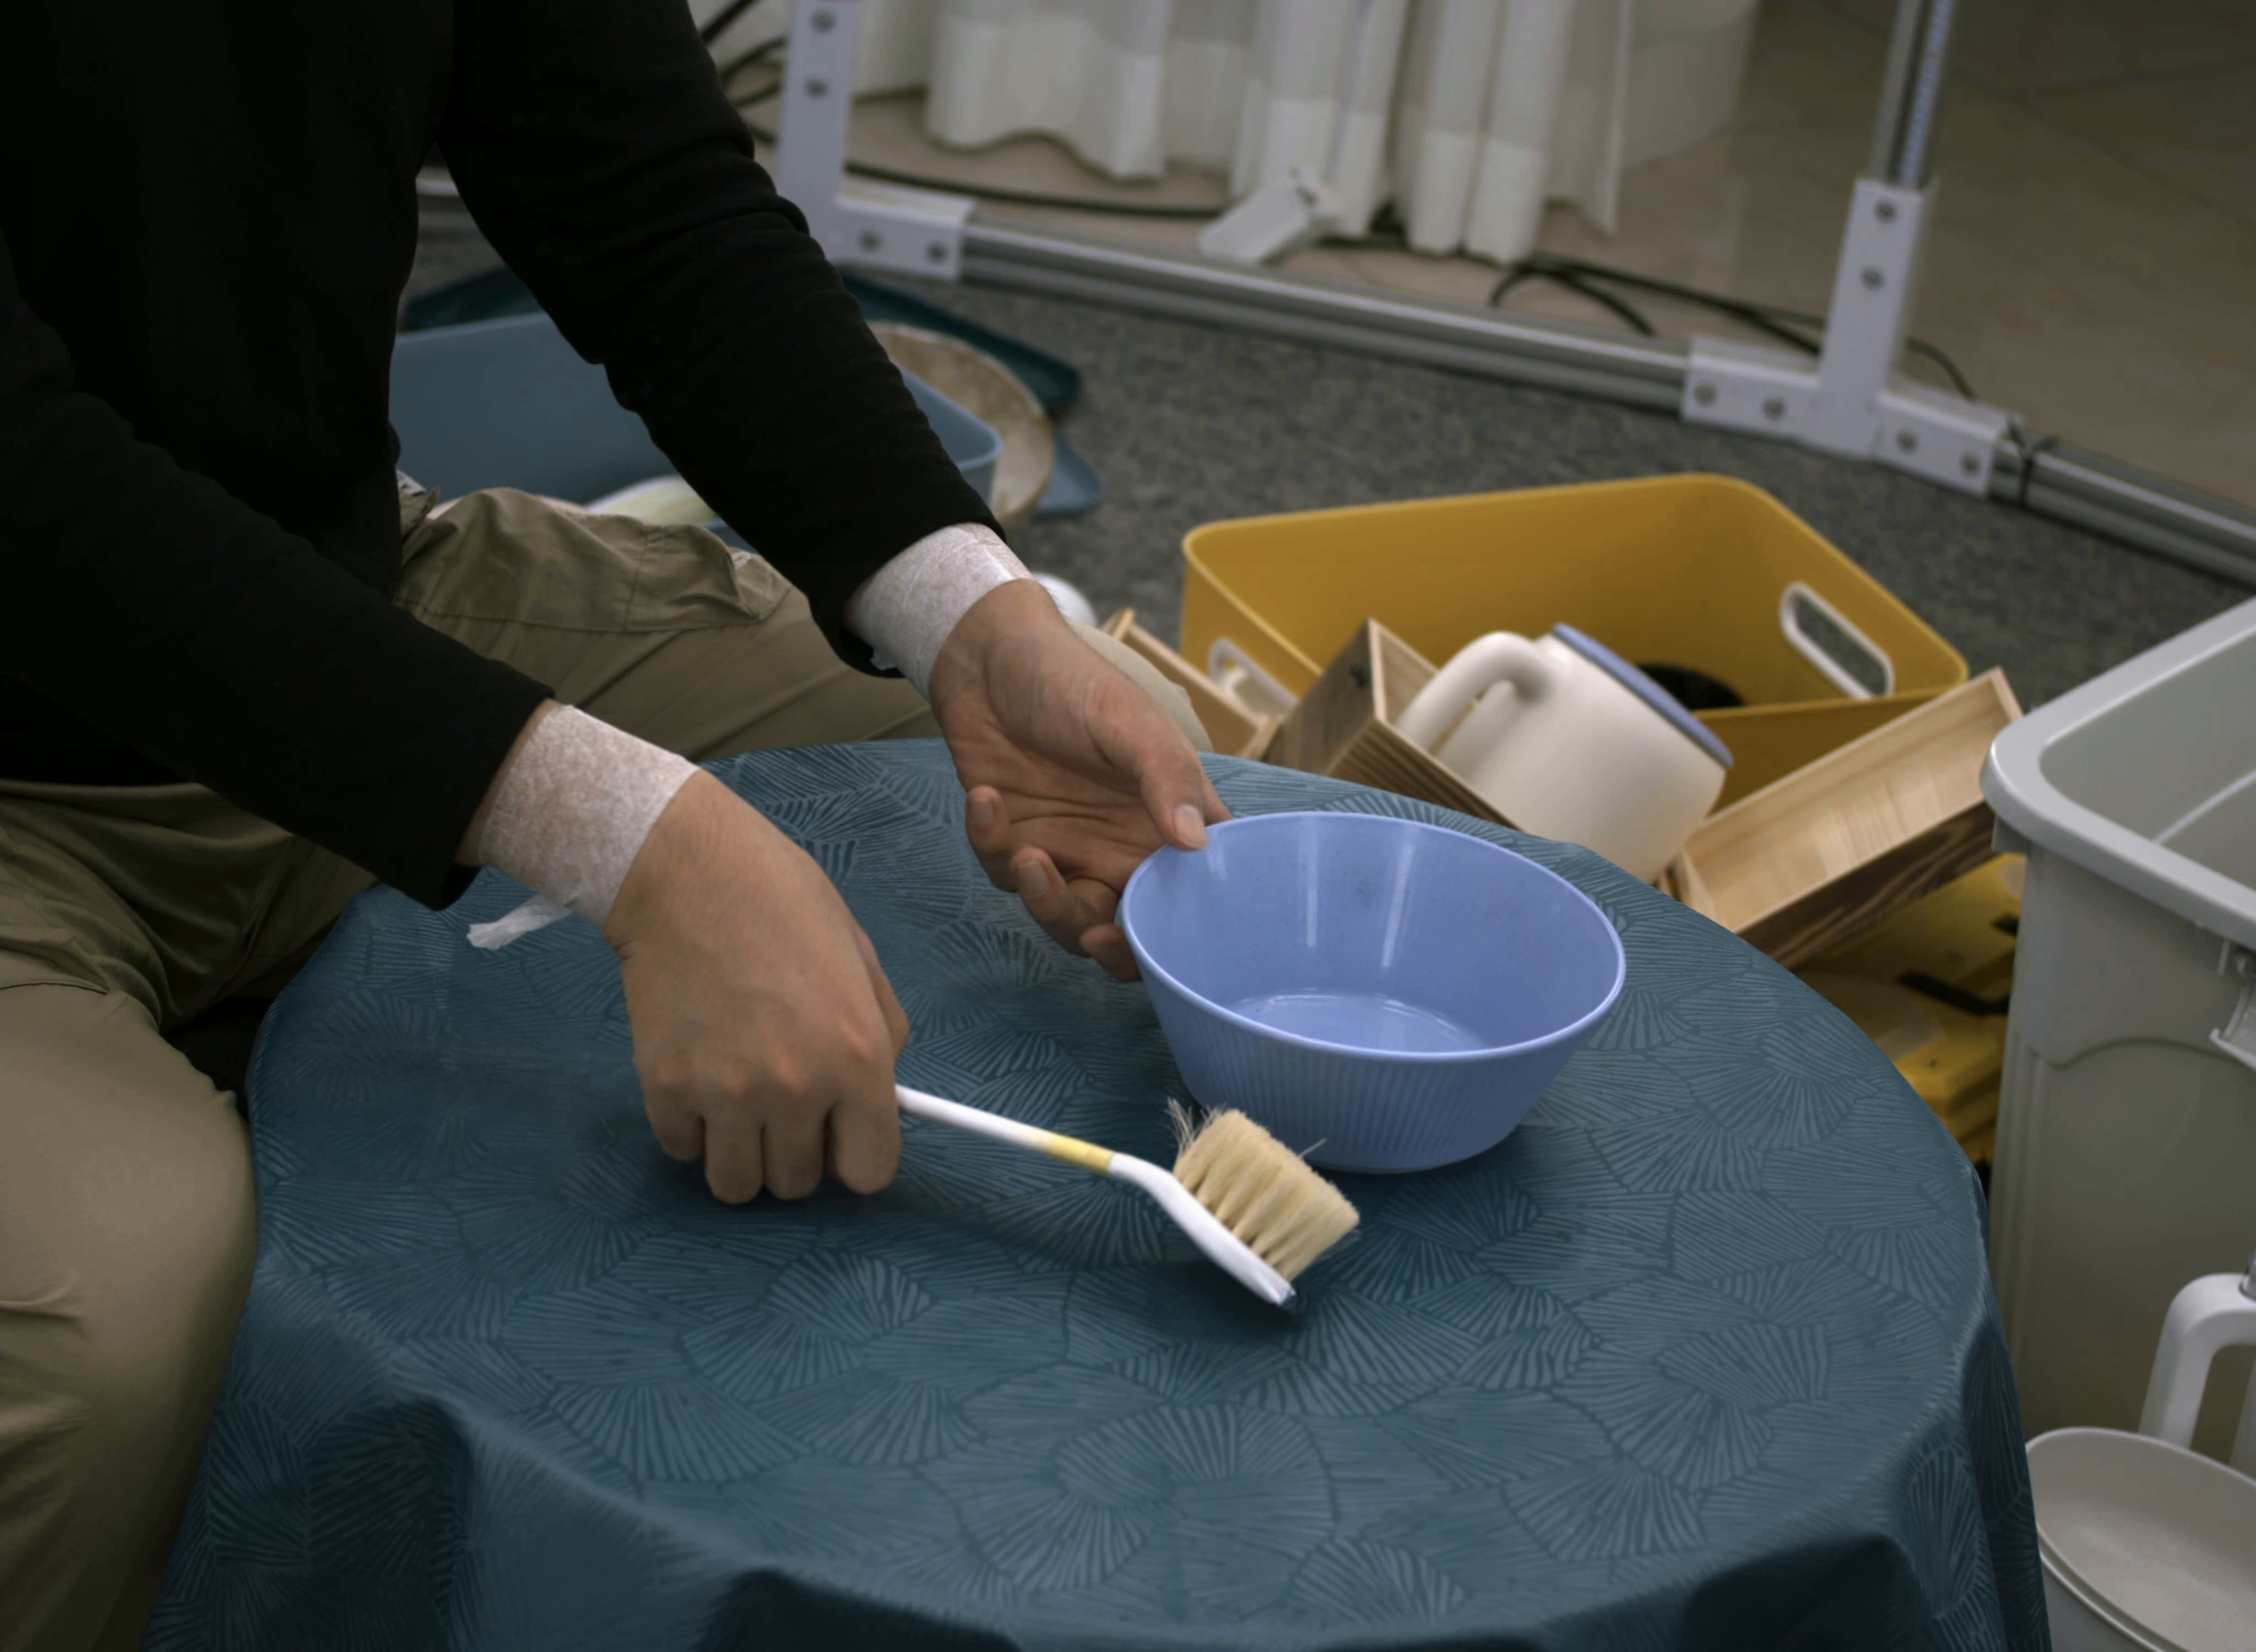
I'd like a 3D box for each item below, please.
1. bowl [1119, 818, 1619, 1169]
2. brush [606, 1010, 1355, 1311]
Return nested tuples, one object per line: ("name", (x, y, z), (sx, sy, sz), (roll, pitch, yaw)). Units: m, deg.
("bowl", (0.080, 0.064, 1.857), (0.175, 0.070, 0.177), (5, 26, -3))
("brush", (-0.049, 0.089, 1.765), (0.267, 0.056, 0.068), (20, -12, 19))
